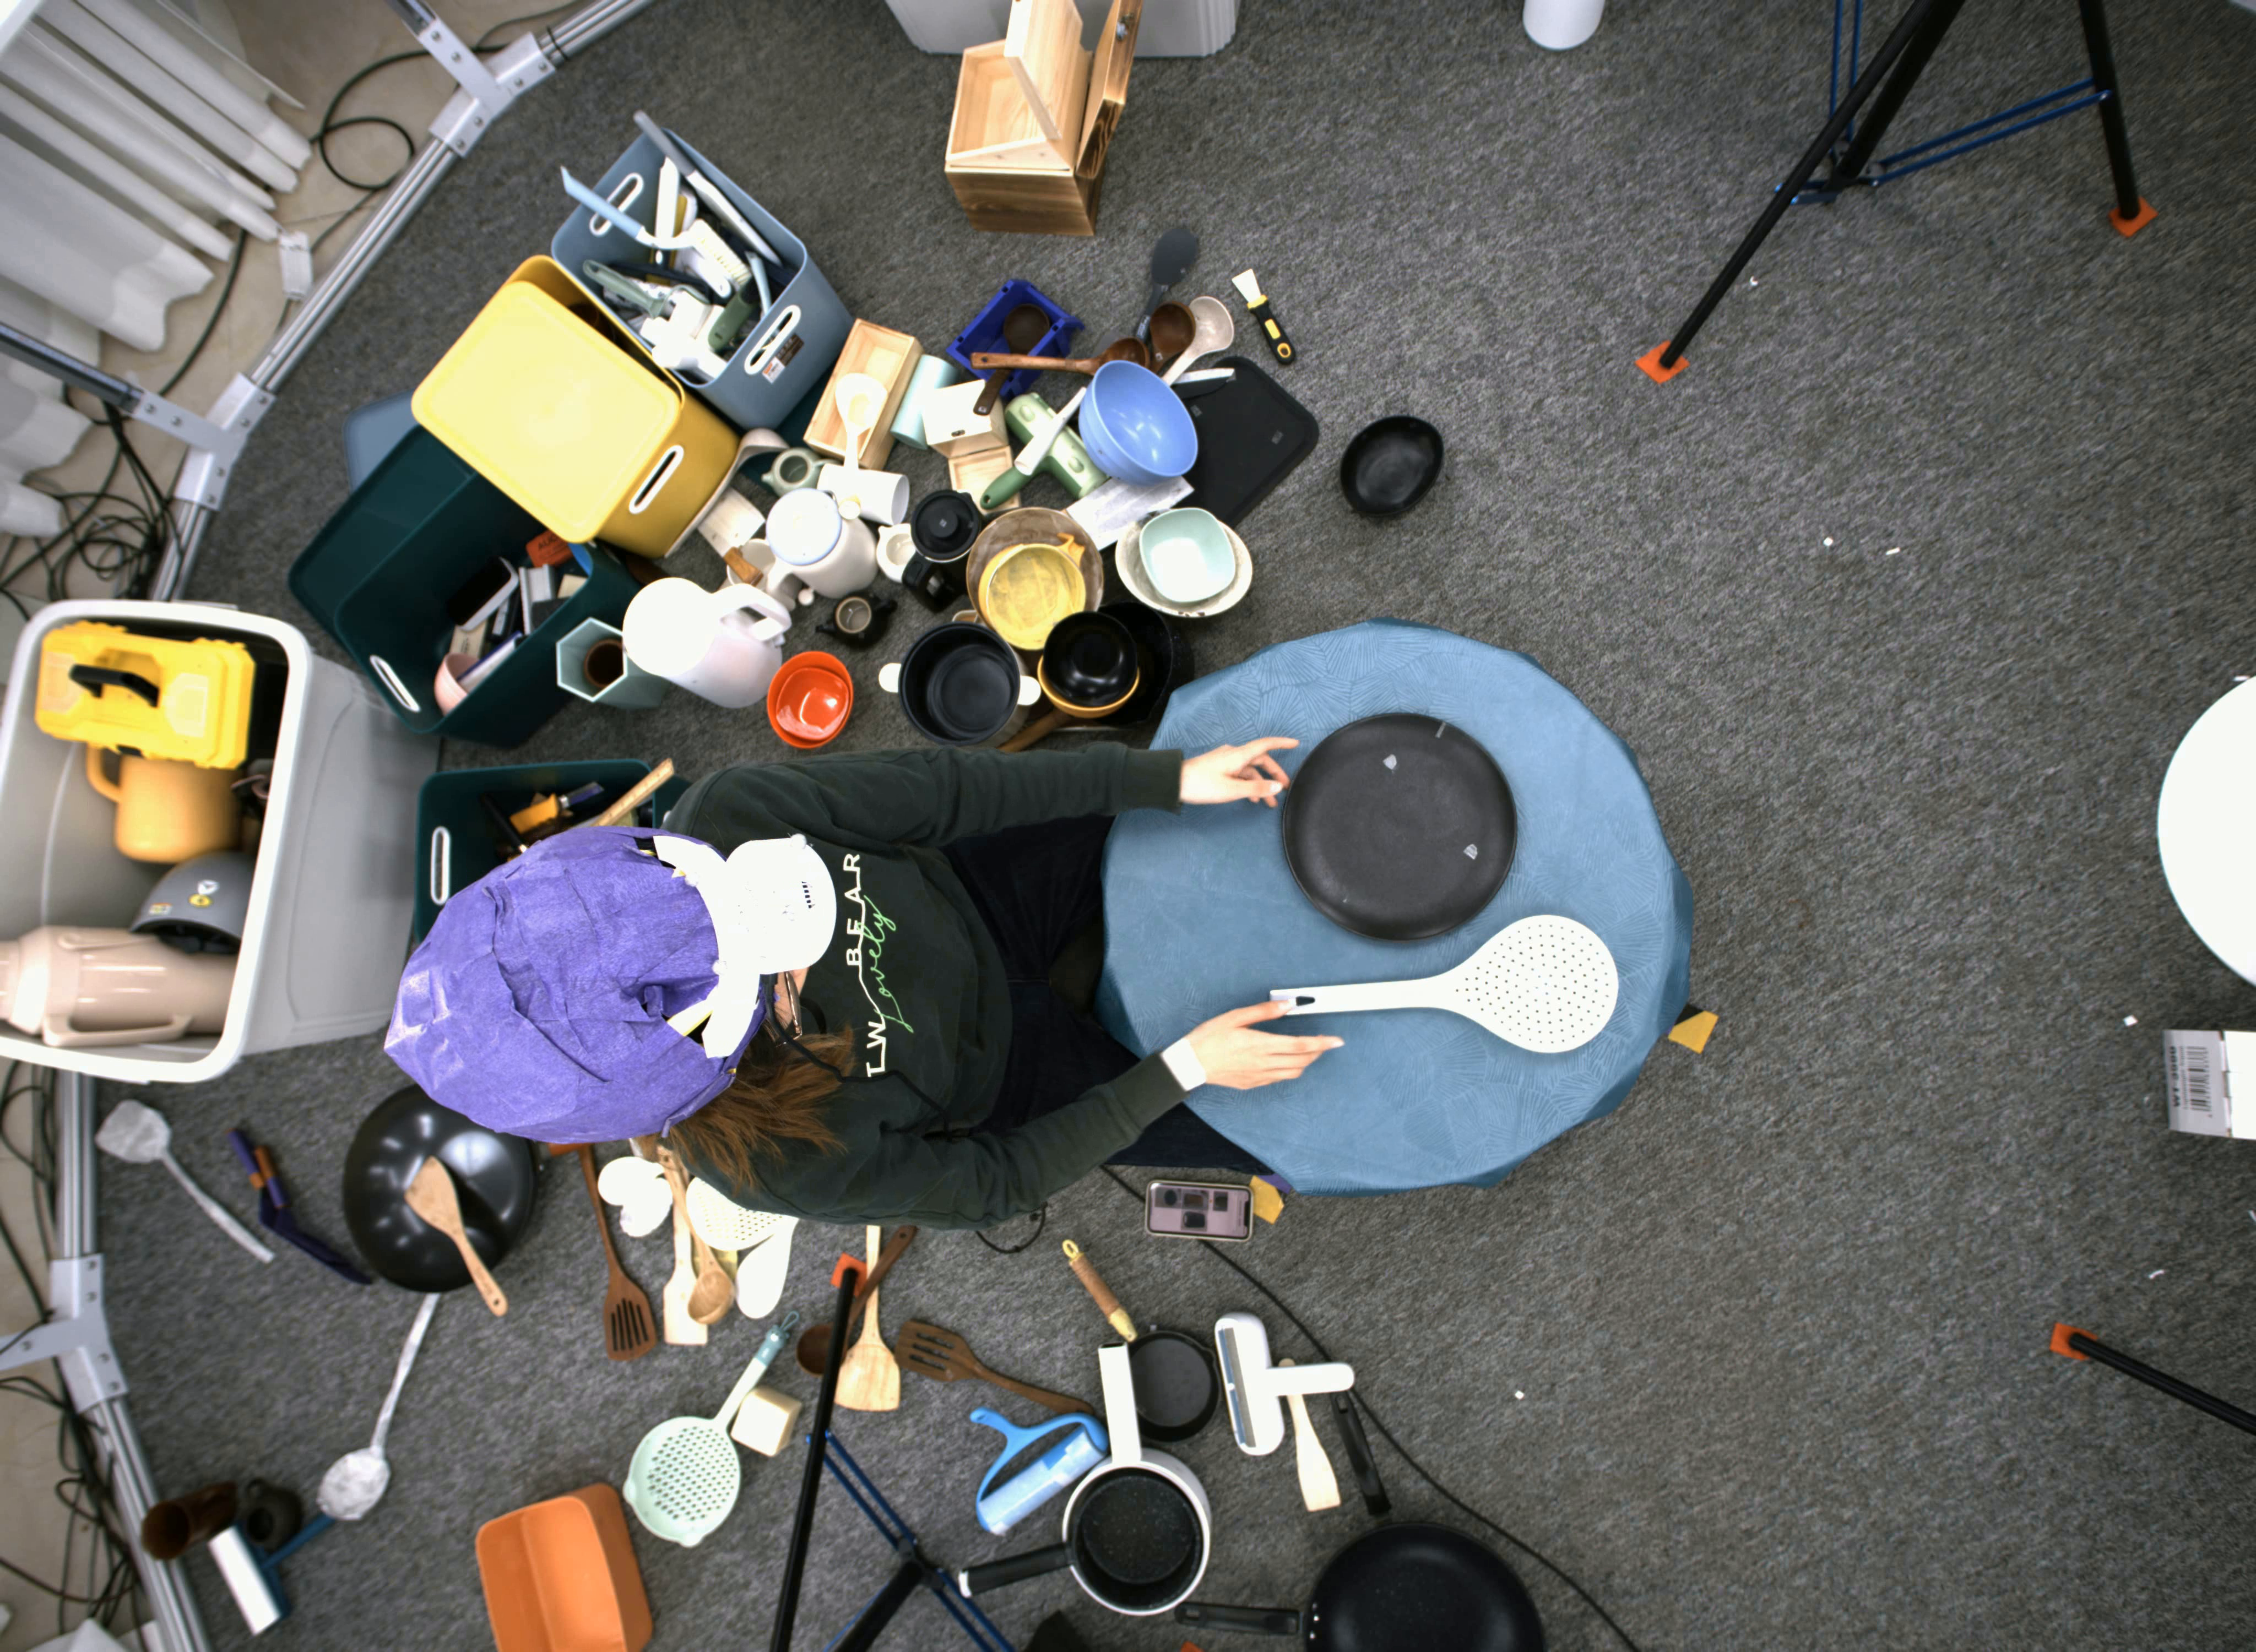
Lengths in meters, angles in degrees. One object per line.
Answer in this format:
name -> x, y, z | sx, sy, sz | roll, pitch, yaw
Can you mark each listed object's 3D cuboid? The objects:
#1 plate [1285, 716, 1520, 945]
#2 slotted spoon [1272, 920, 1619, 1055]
plate -> 0.288, 0.003, 1.454 | 0.245, 0.023, 0.243 | -1, 86, 10
slotted spoon -> 0.323, 0.172, 1.425 | 0.351, 0.046, 0.135 | -5, 83, 11
